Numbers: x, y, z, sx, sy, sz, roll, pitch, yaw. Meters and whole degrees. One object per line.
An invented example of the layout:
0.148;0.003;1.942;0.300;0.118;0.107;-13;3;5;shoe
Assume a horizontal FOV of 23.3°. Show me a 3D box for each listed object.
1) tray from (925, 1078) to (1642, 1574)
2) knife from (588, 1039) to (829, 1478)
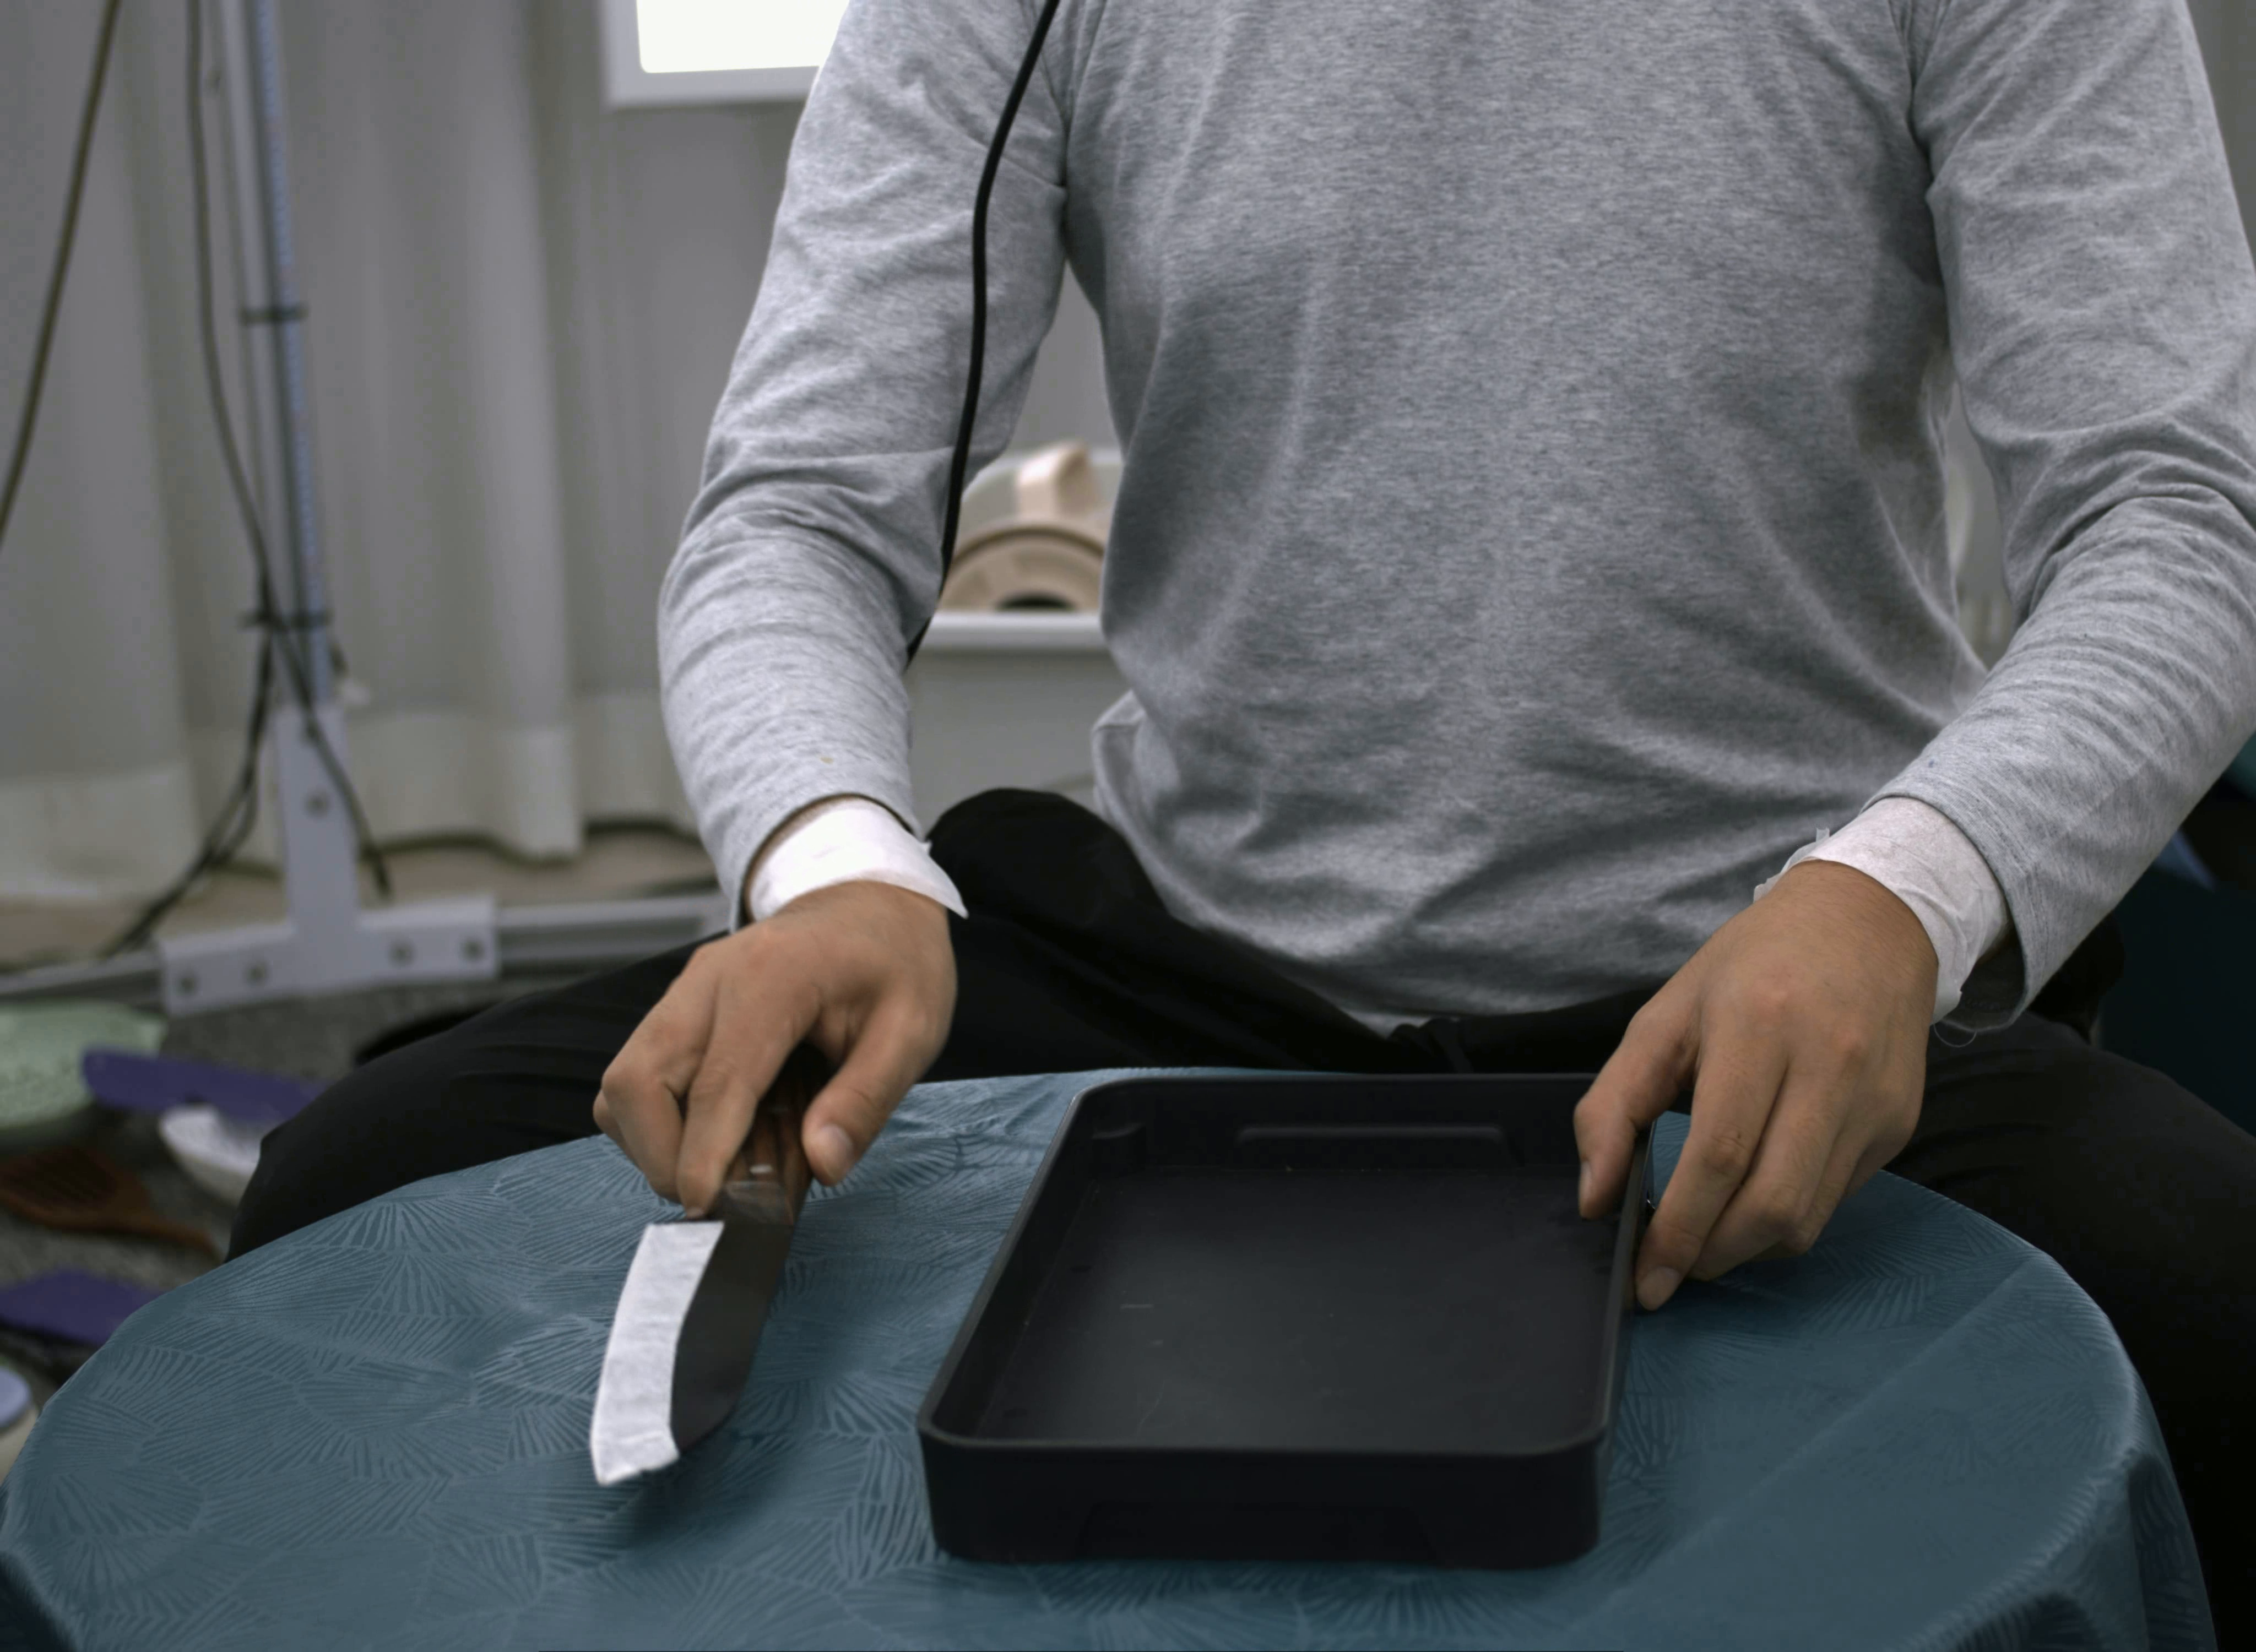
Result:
0.053;0.137;1.556;0.184;0.037;0.320;-1;14;7;tray
-0.119;0.123;1.578;0.050;0.020;0.291;-2;19;7;knife
